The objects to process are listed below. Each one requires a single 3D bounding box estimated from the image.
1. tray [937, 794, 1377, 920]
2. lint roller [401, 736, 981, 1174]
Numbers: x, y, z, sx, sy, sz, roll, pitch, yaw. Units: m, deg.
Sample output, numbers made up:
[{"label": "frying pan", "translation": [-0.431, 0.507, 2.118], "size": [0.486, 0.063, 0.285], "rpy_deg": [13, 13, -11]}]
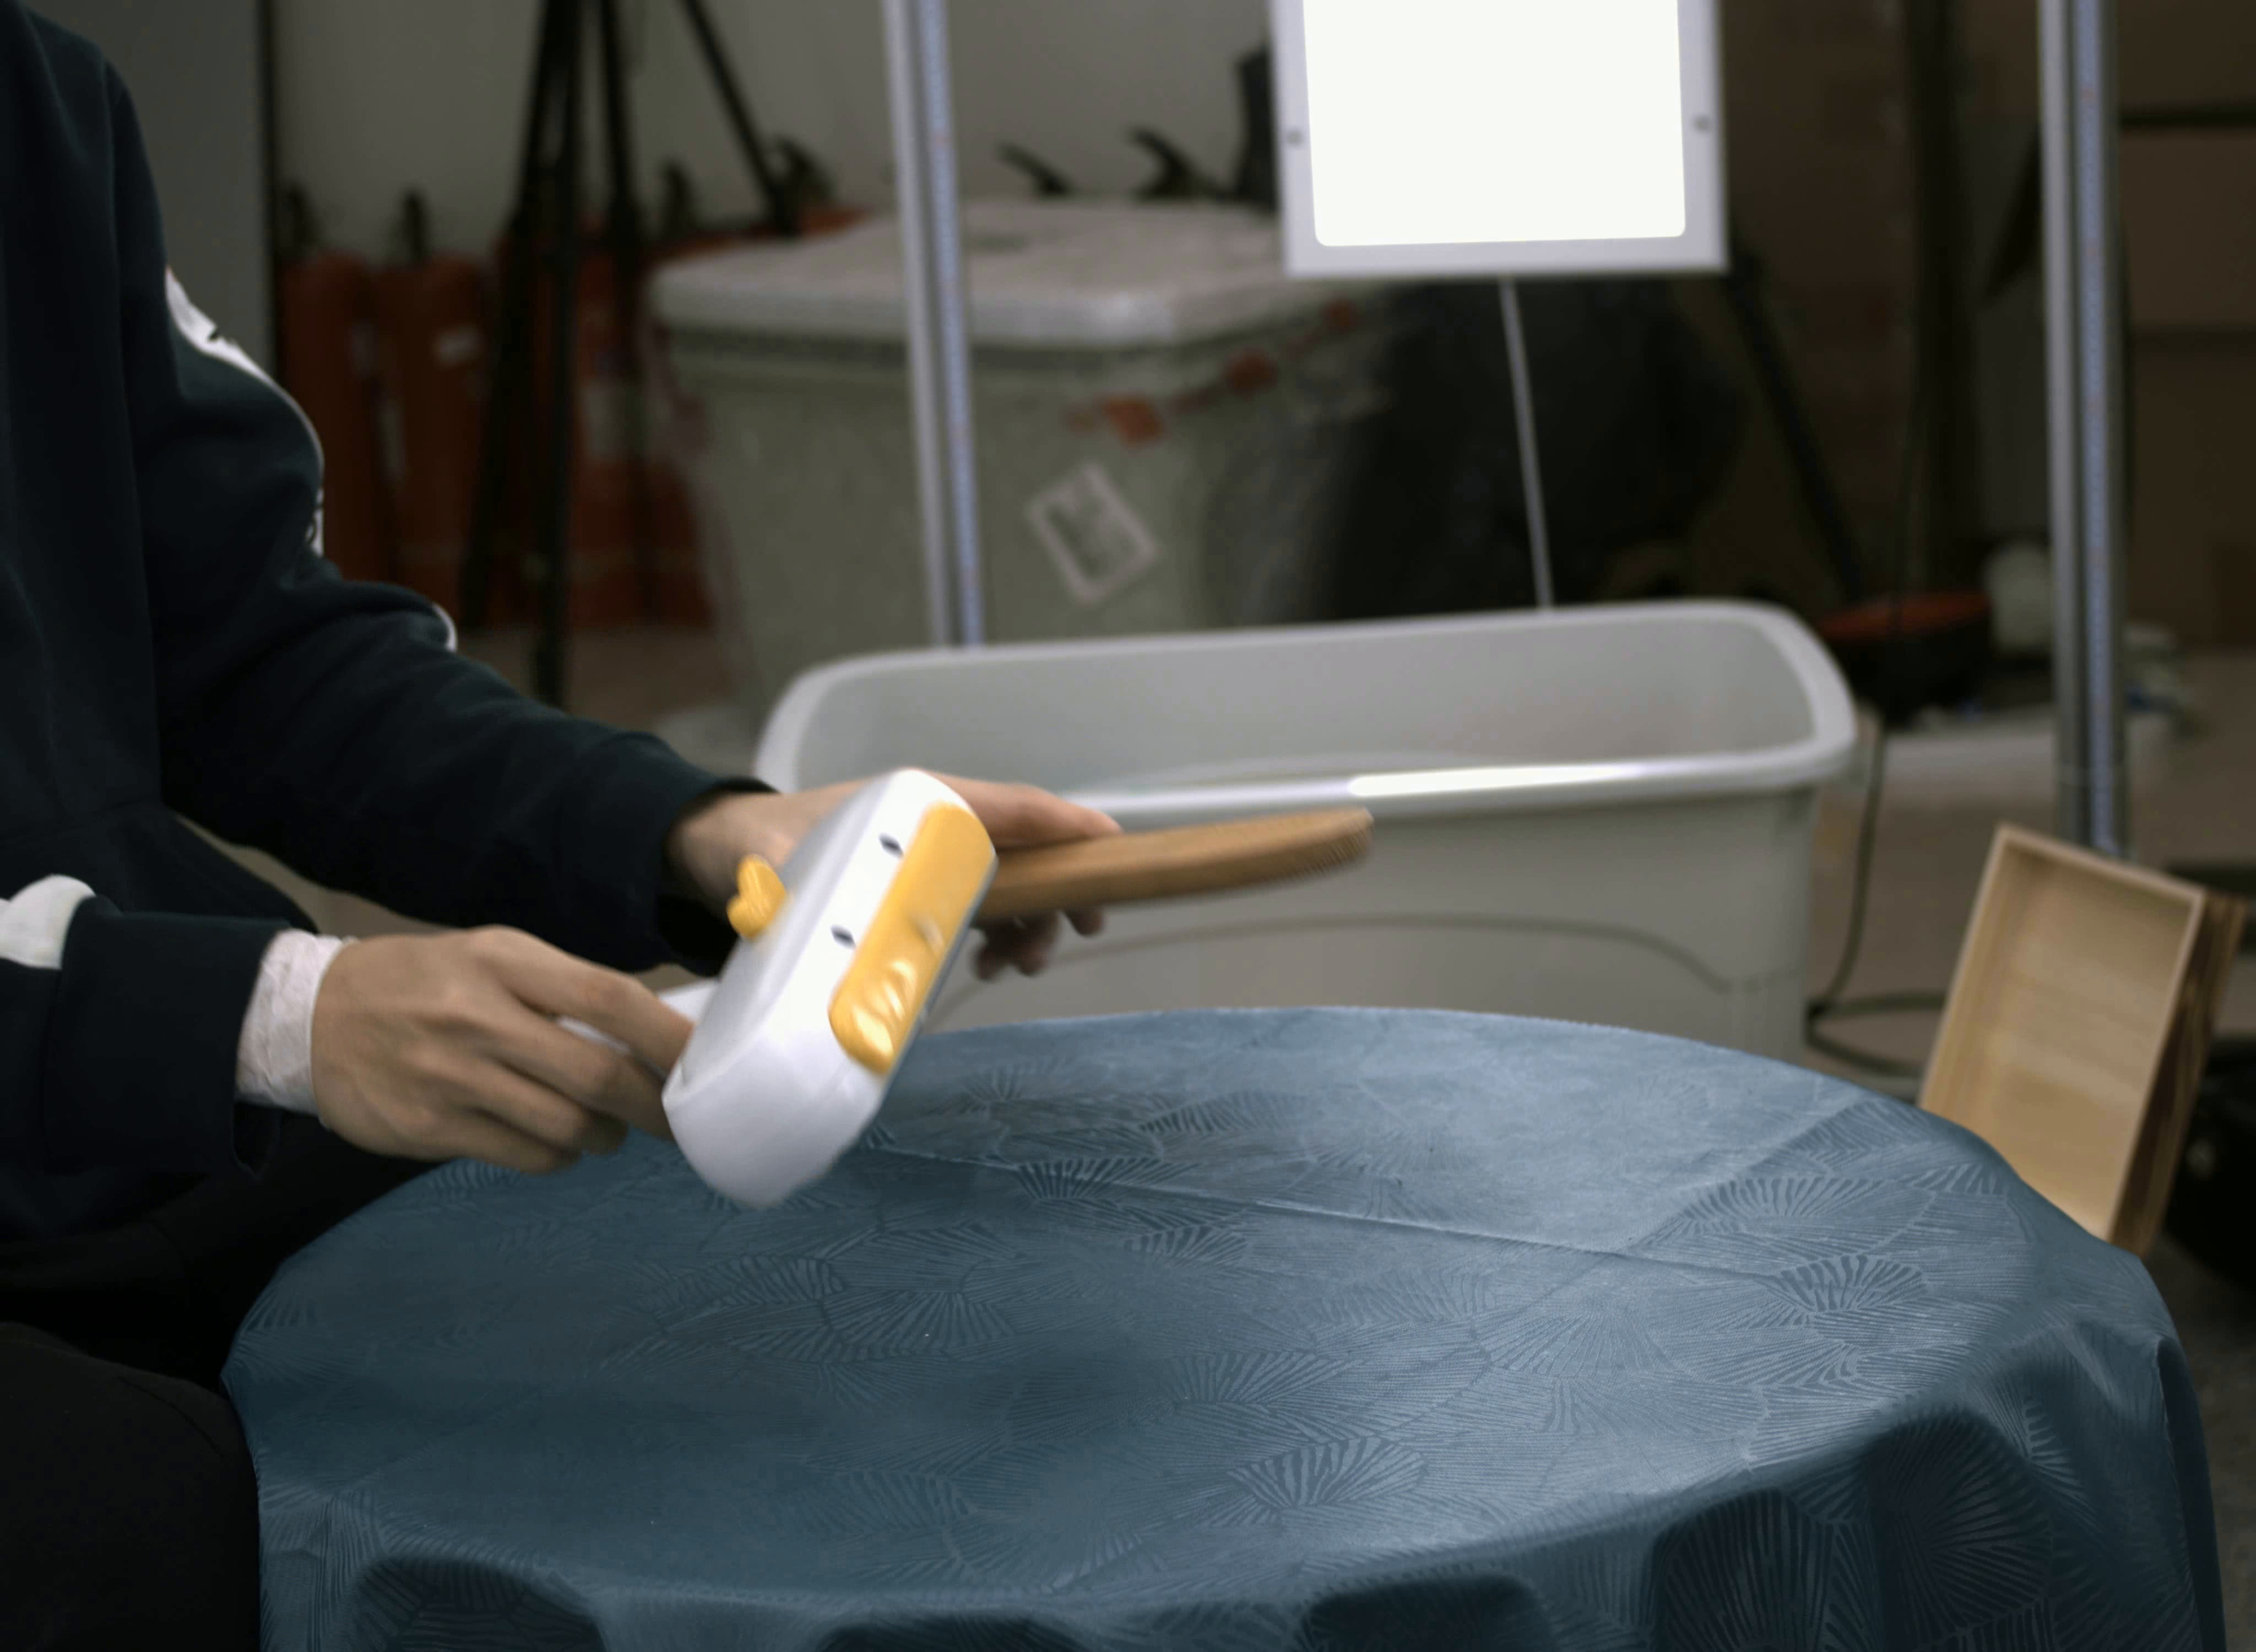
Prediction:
[{"label": "tray", "translation": [-0.015, 0.014, 1.926], "size": [0.236, 0.020, 0.099], "rpy_deg": [-7, 7, 39]}, {"label": "lint roller", "translation": [-0.142, 0.061, 1.743], "size": [0.195, 0.073, 0.191], "rpy_deg": [-31, 23, 24]}]
